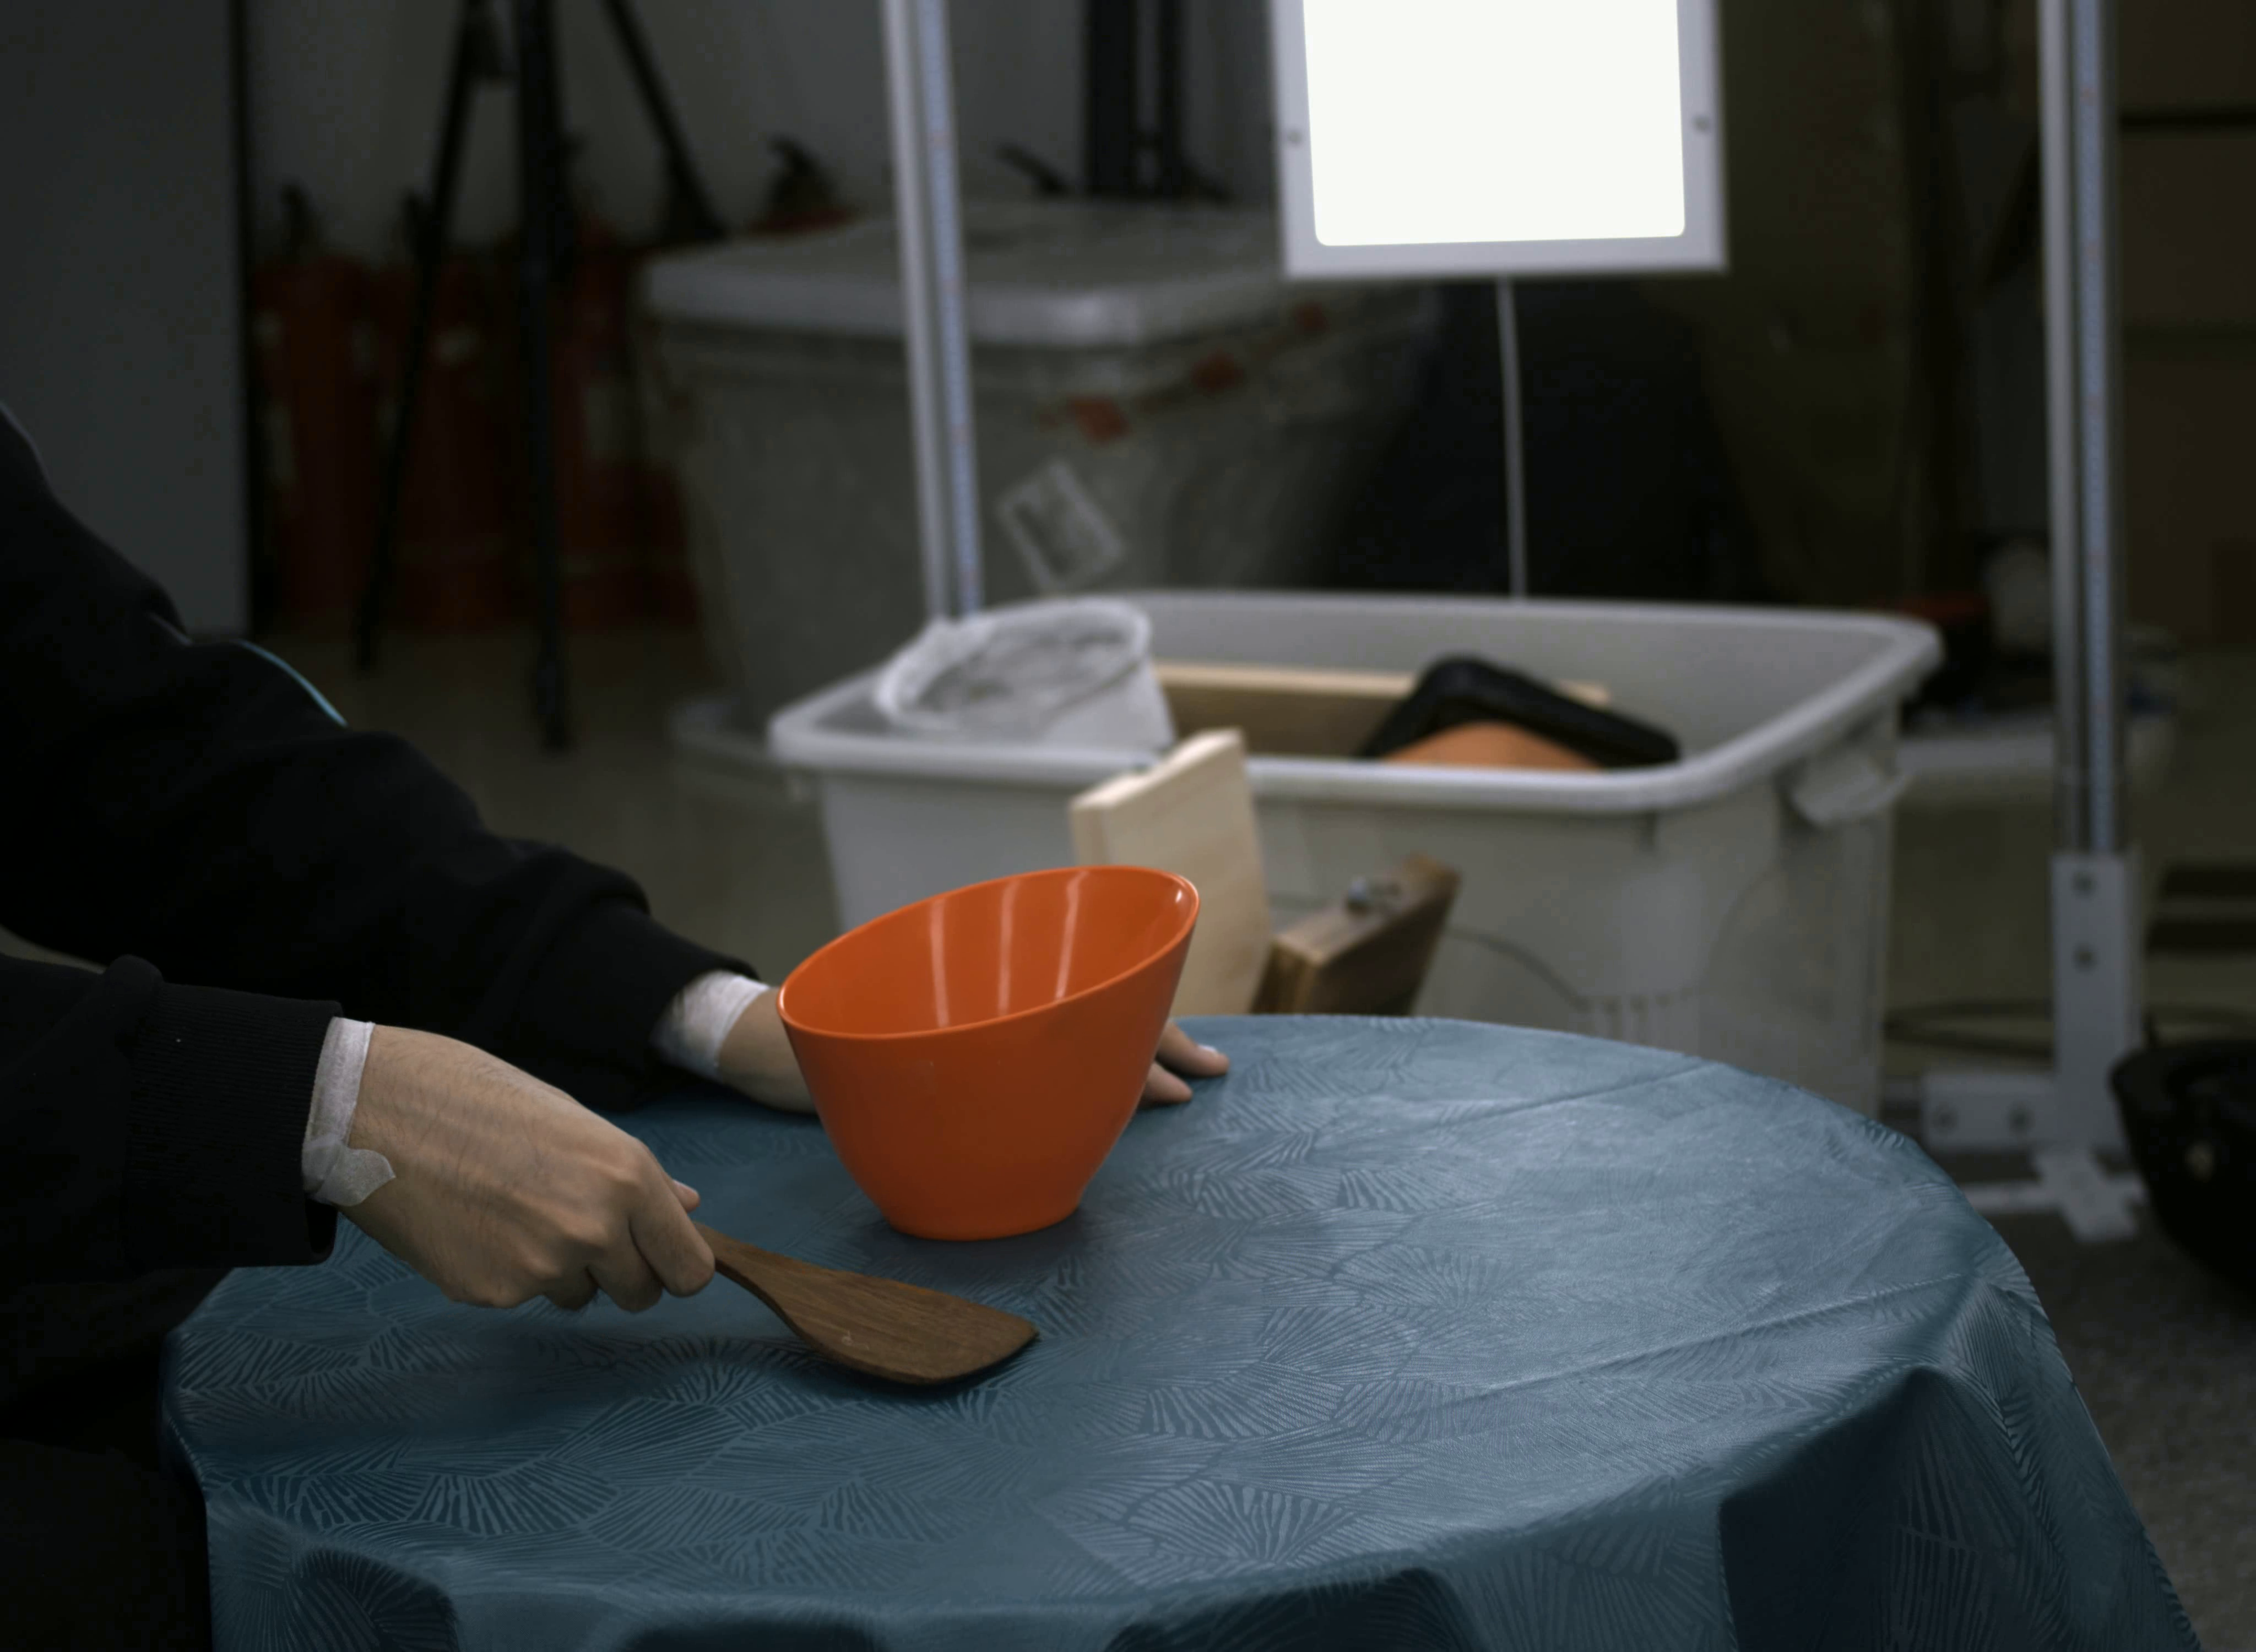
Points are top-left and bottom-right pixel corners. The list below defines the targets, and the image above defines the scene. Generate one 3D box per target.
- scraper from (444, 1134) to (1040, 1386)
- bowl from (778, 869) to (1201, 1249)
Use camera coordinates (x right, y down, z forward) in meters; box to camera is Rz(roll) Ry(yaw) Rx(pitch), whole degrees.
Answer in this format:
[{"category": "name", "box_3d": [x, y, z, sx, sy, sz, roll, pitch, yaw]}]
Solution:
[{"category": "scraper", "box_3d": [-0.130, 0.138, 1.778, 0.214, 0.011, 0.074, 20, 19, 25]}, {"category": "bowl", "box_3d": [-0.043, 0.083, 1.883, 0.148, 0.105, 0.148, -6, 15, 0]}]
